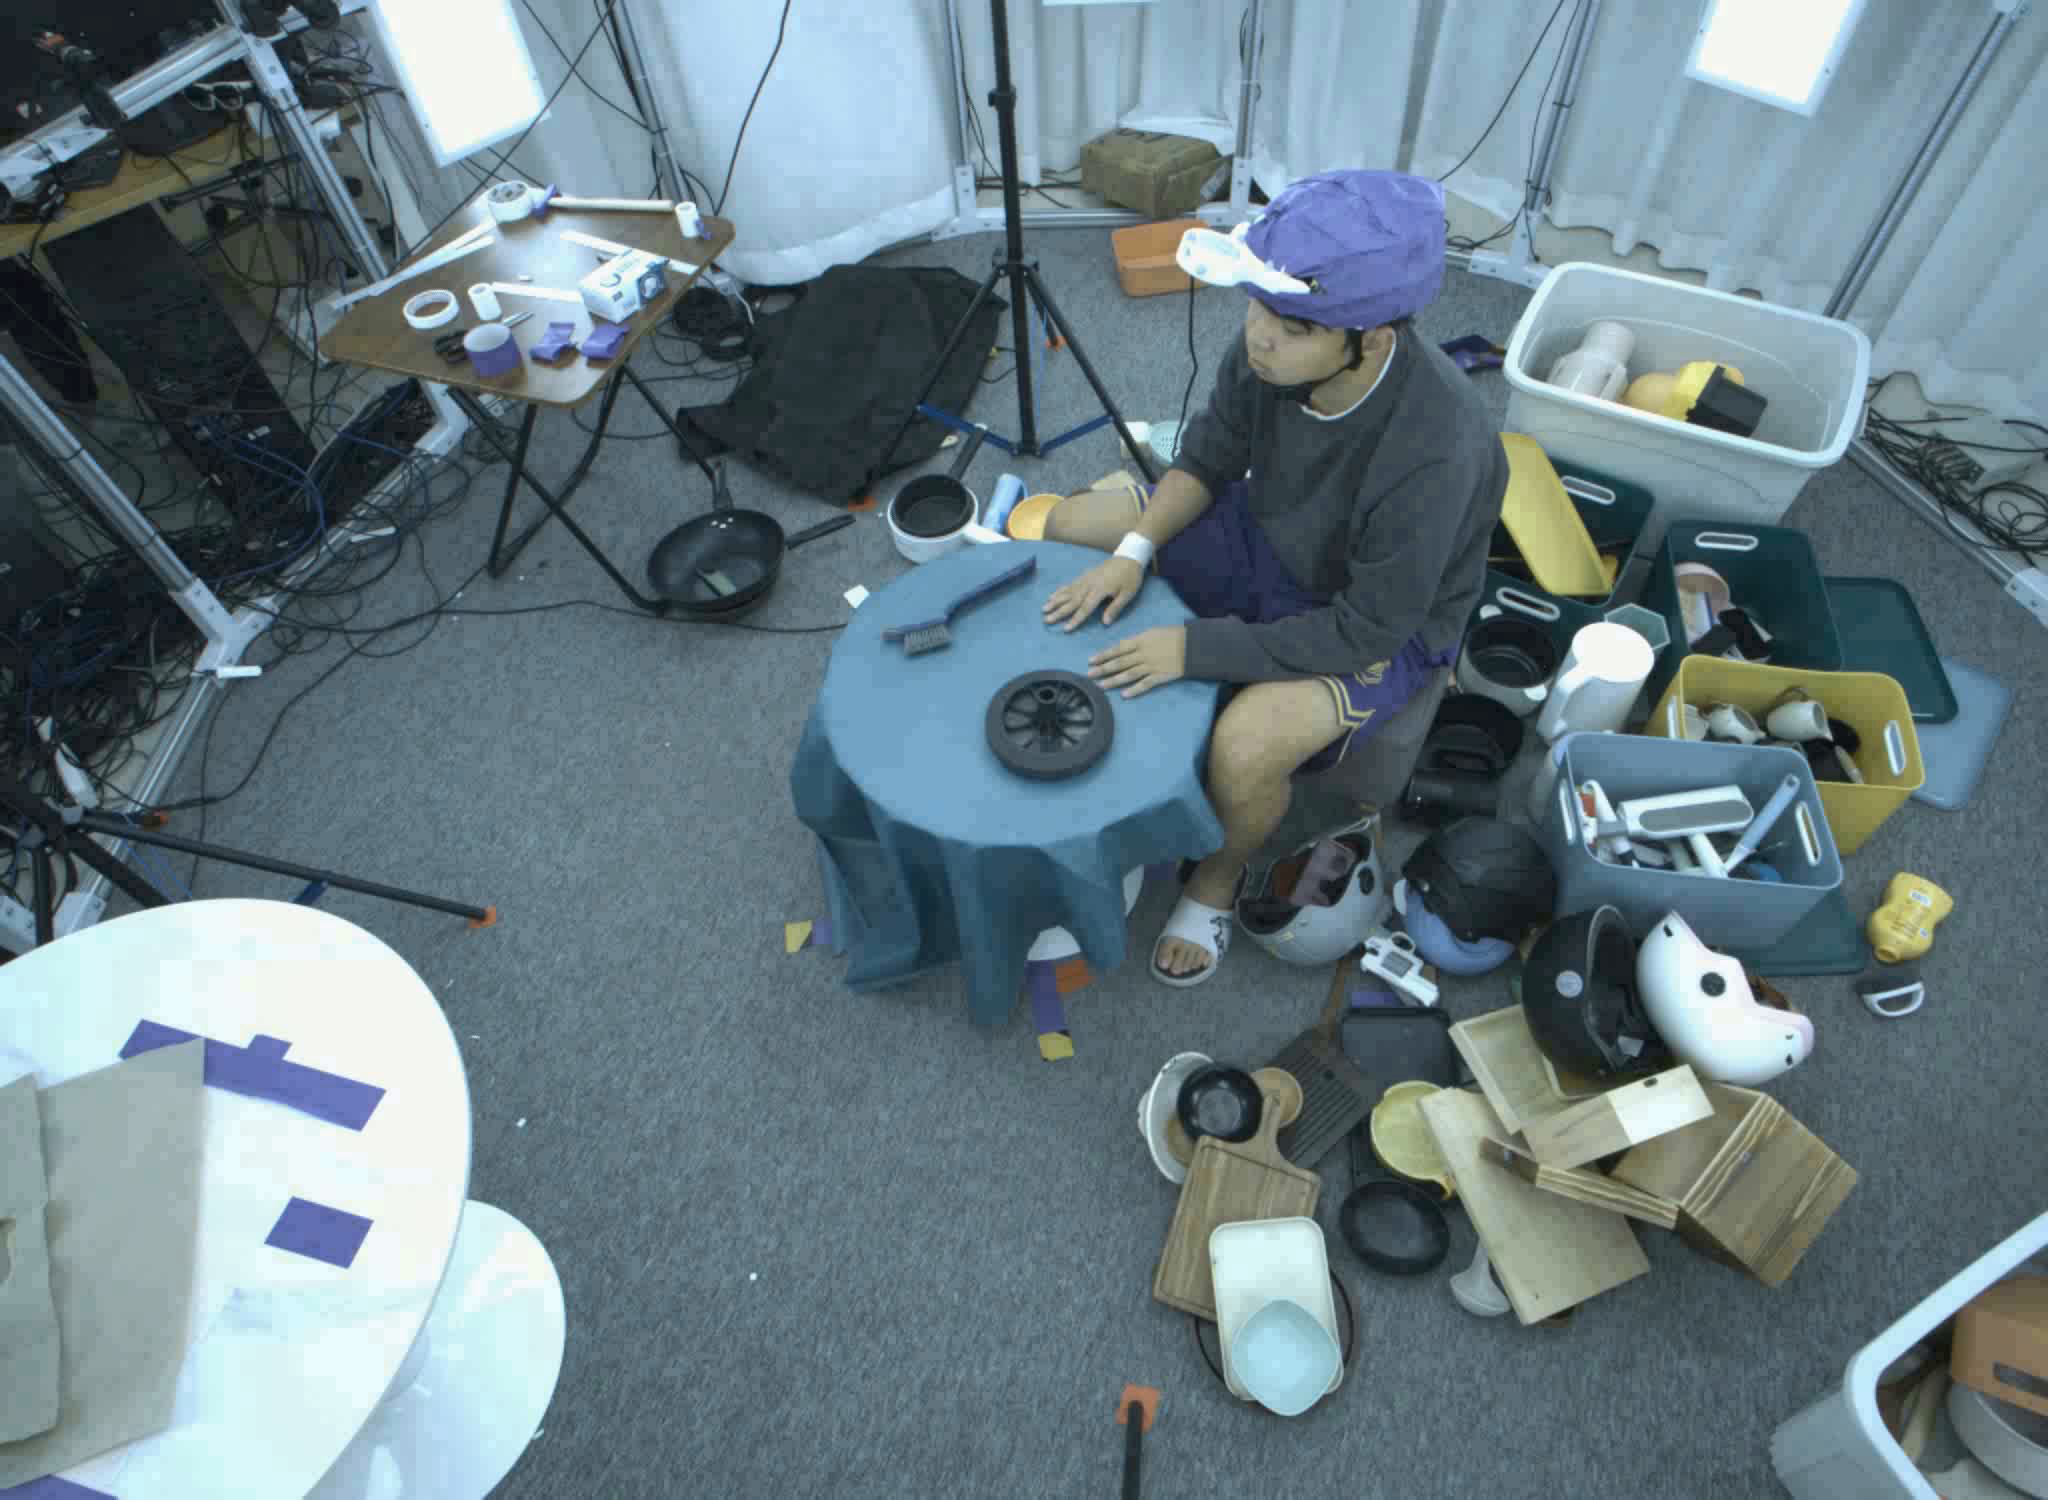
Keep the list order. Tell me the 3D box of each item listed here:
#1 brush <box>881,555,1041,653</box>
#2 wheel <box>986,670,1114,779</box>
[{"bbox_3d":[-0.095,-0.241,1.945,0.275,0.034,0.094,-38,61,-21],"label":"brush"},{"bbox_3d":[0.036,-0.052,1.779,0.186,0.080,0.189,8,54,9],"label":"wheel"}]
